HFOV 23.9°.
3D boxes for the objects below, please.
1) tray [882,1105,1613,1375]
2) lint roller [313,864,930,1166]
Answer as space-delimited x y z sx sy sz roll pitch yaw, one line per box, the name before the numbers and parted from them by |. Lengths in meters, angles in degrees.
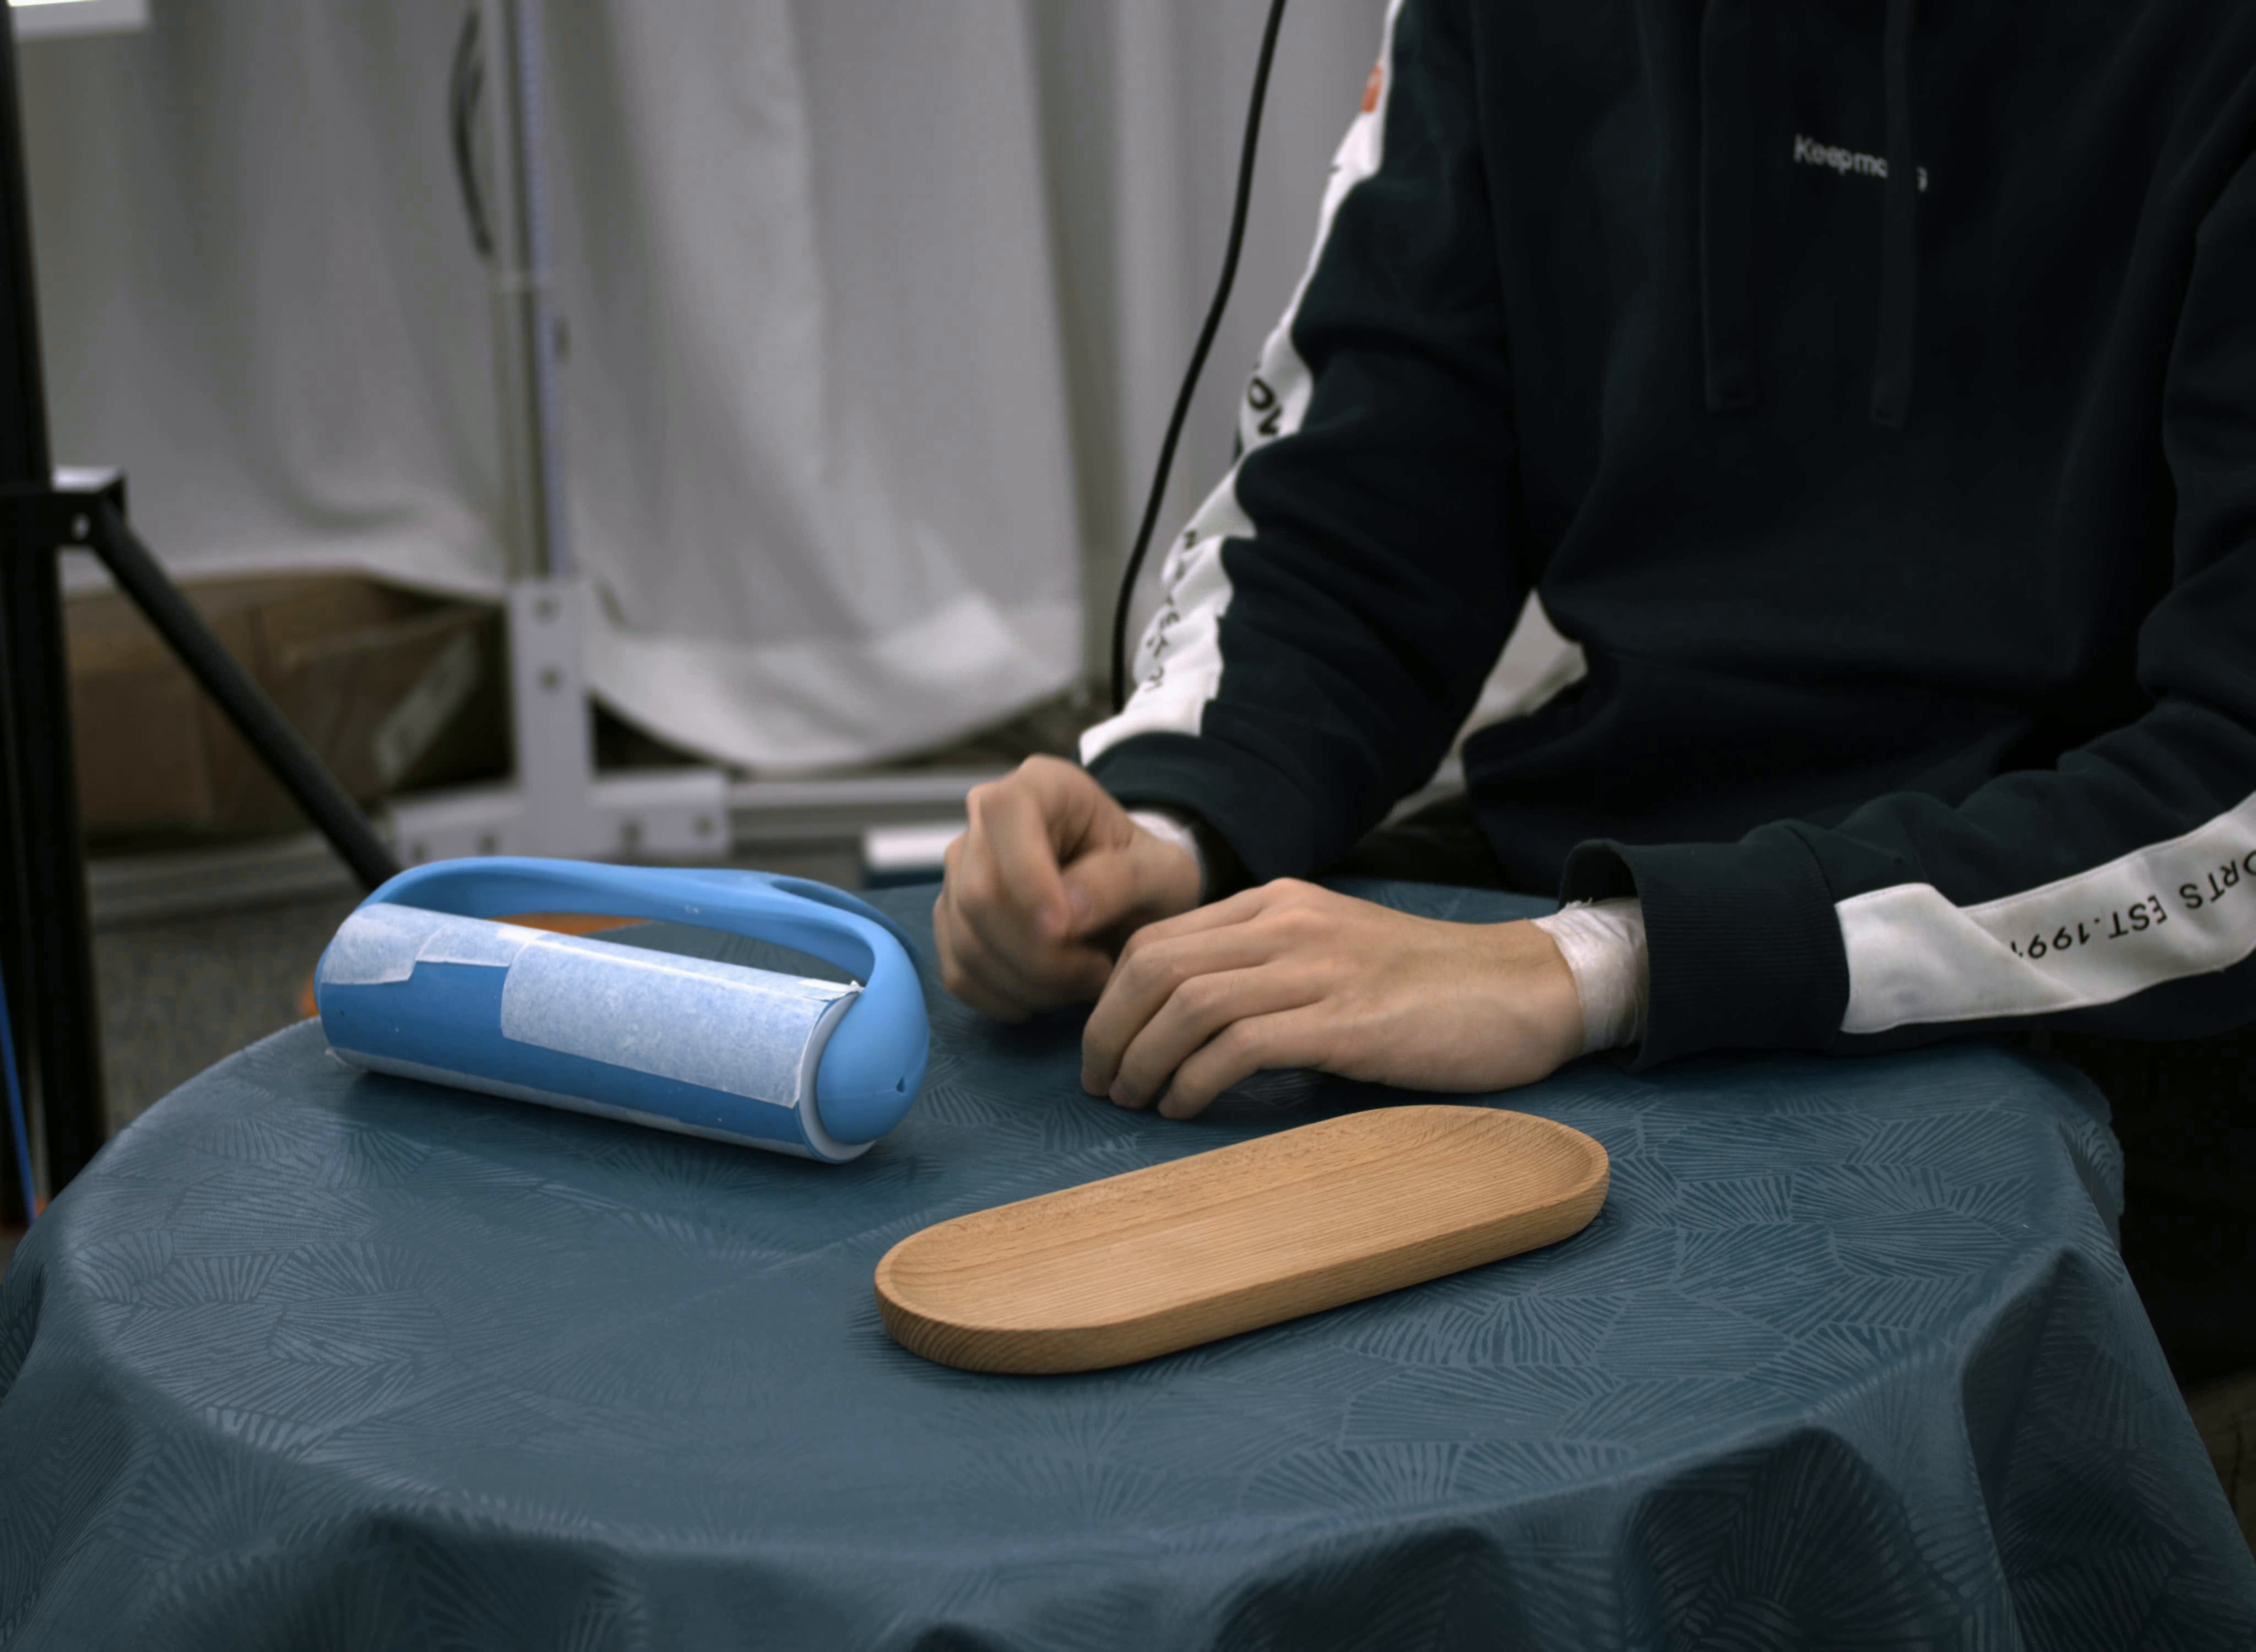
tray | 0.037 0.116 1.496 0.226 0.020 0.104 -11 19 -32
lint roller | -0.129 0.047 1.692 0.233 0.068 0.177 6 19 33
